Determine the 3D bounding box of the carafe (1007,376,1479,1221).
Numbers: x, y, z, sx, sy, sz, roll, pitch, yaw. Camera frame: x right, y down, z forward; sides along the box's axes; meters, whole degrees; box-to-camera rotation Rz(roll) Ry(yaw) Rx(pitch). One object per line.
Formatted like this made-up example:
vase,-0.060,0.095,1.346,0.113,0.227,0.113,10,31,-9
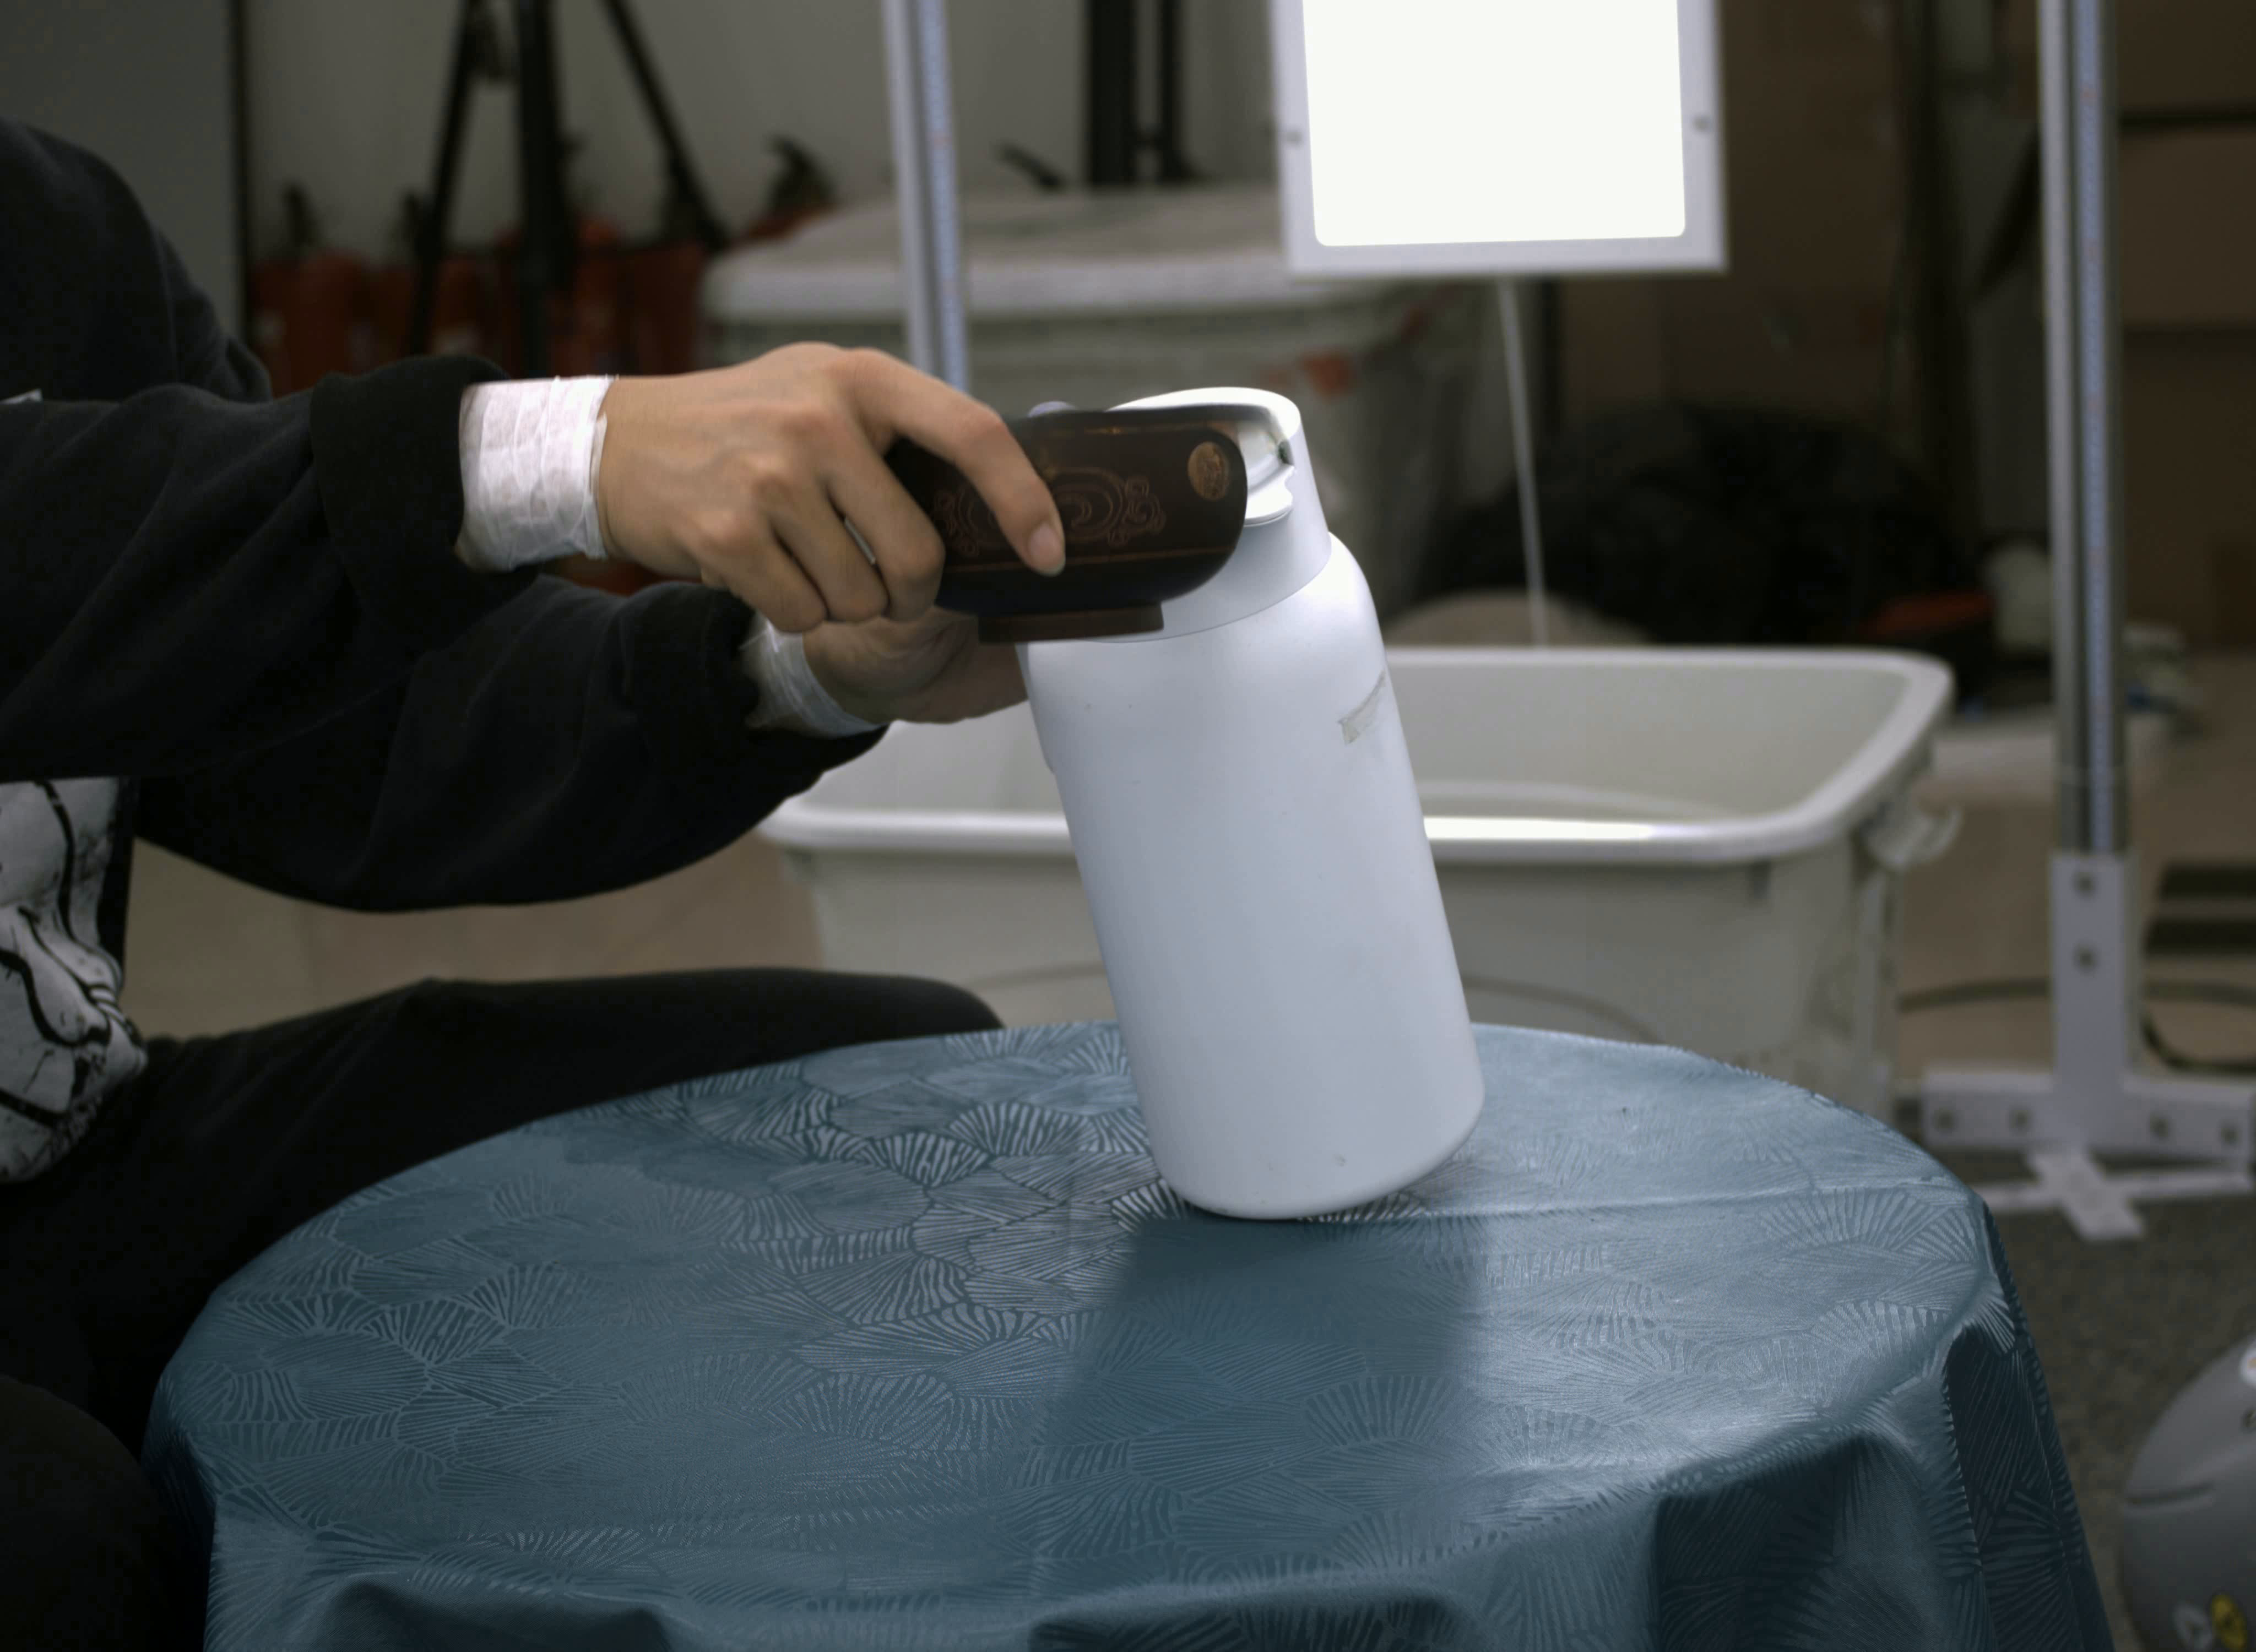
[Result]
carafe,0.026,-0.011,1.856,0.121,0.269,0.176,-29,28,-26

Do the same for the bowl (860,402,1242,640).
bowl,-0.022,-0.093,1.682,0.117,0.070,0.118,-3,4,-1
